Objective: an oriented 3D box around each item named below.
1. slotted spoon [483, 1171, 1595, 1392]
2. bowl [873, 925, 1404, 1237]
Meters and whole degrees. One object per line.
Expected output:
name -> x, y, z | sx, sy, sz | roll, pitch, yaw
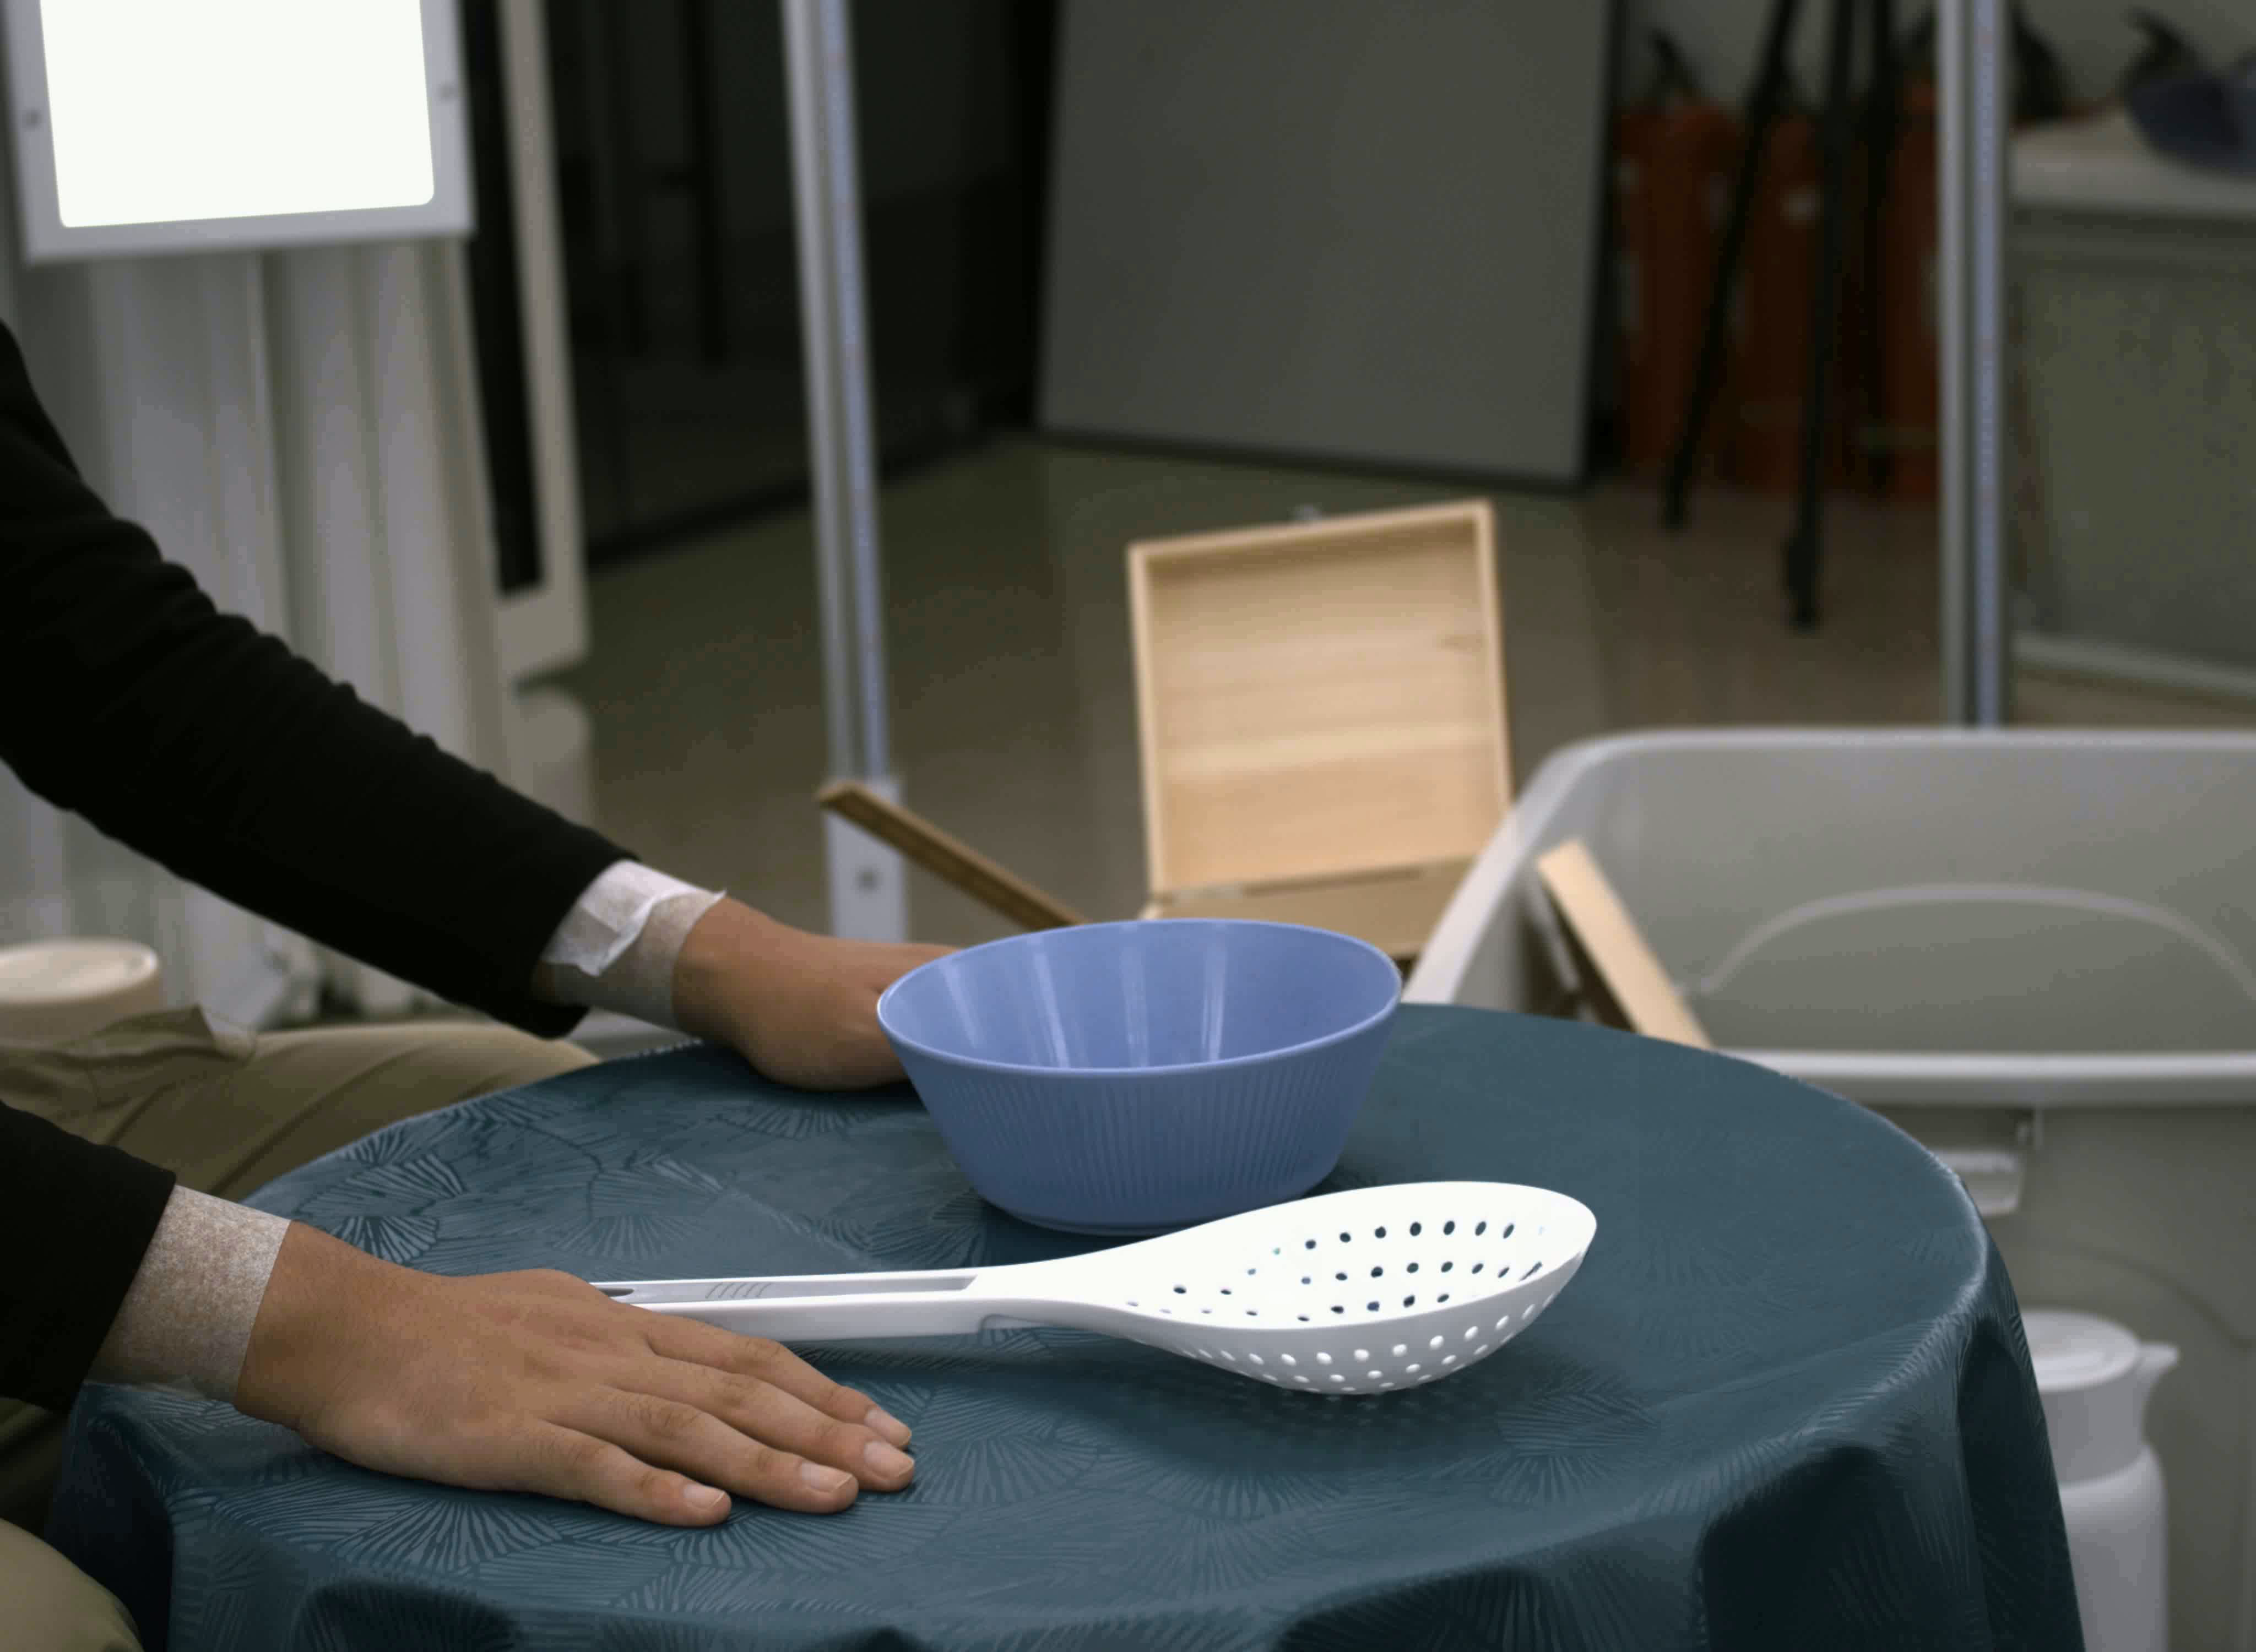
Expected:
slotted spoon -> -0.031, 0.140, 1.606 | 0.349, 0.046, 0.135 | -1, 14, 18
bowl -> 0.006, 0.085, 1.767 | 0.174, 0.071, 0.176 | -5, 13, 0
